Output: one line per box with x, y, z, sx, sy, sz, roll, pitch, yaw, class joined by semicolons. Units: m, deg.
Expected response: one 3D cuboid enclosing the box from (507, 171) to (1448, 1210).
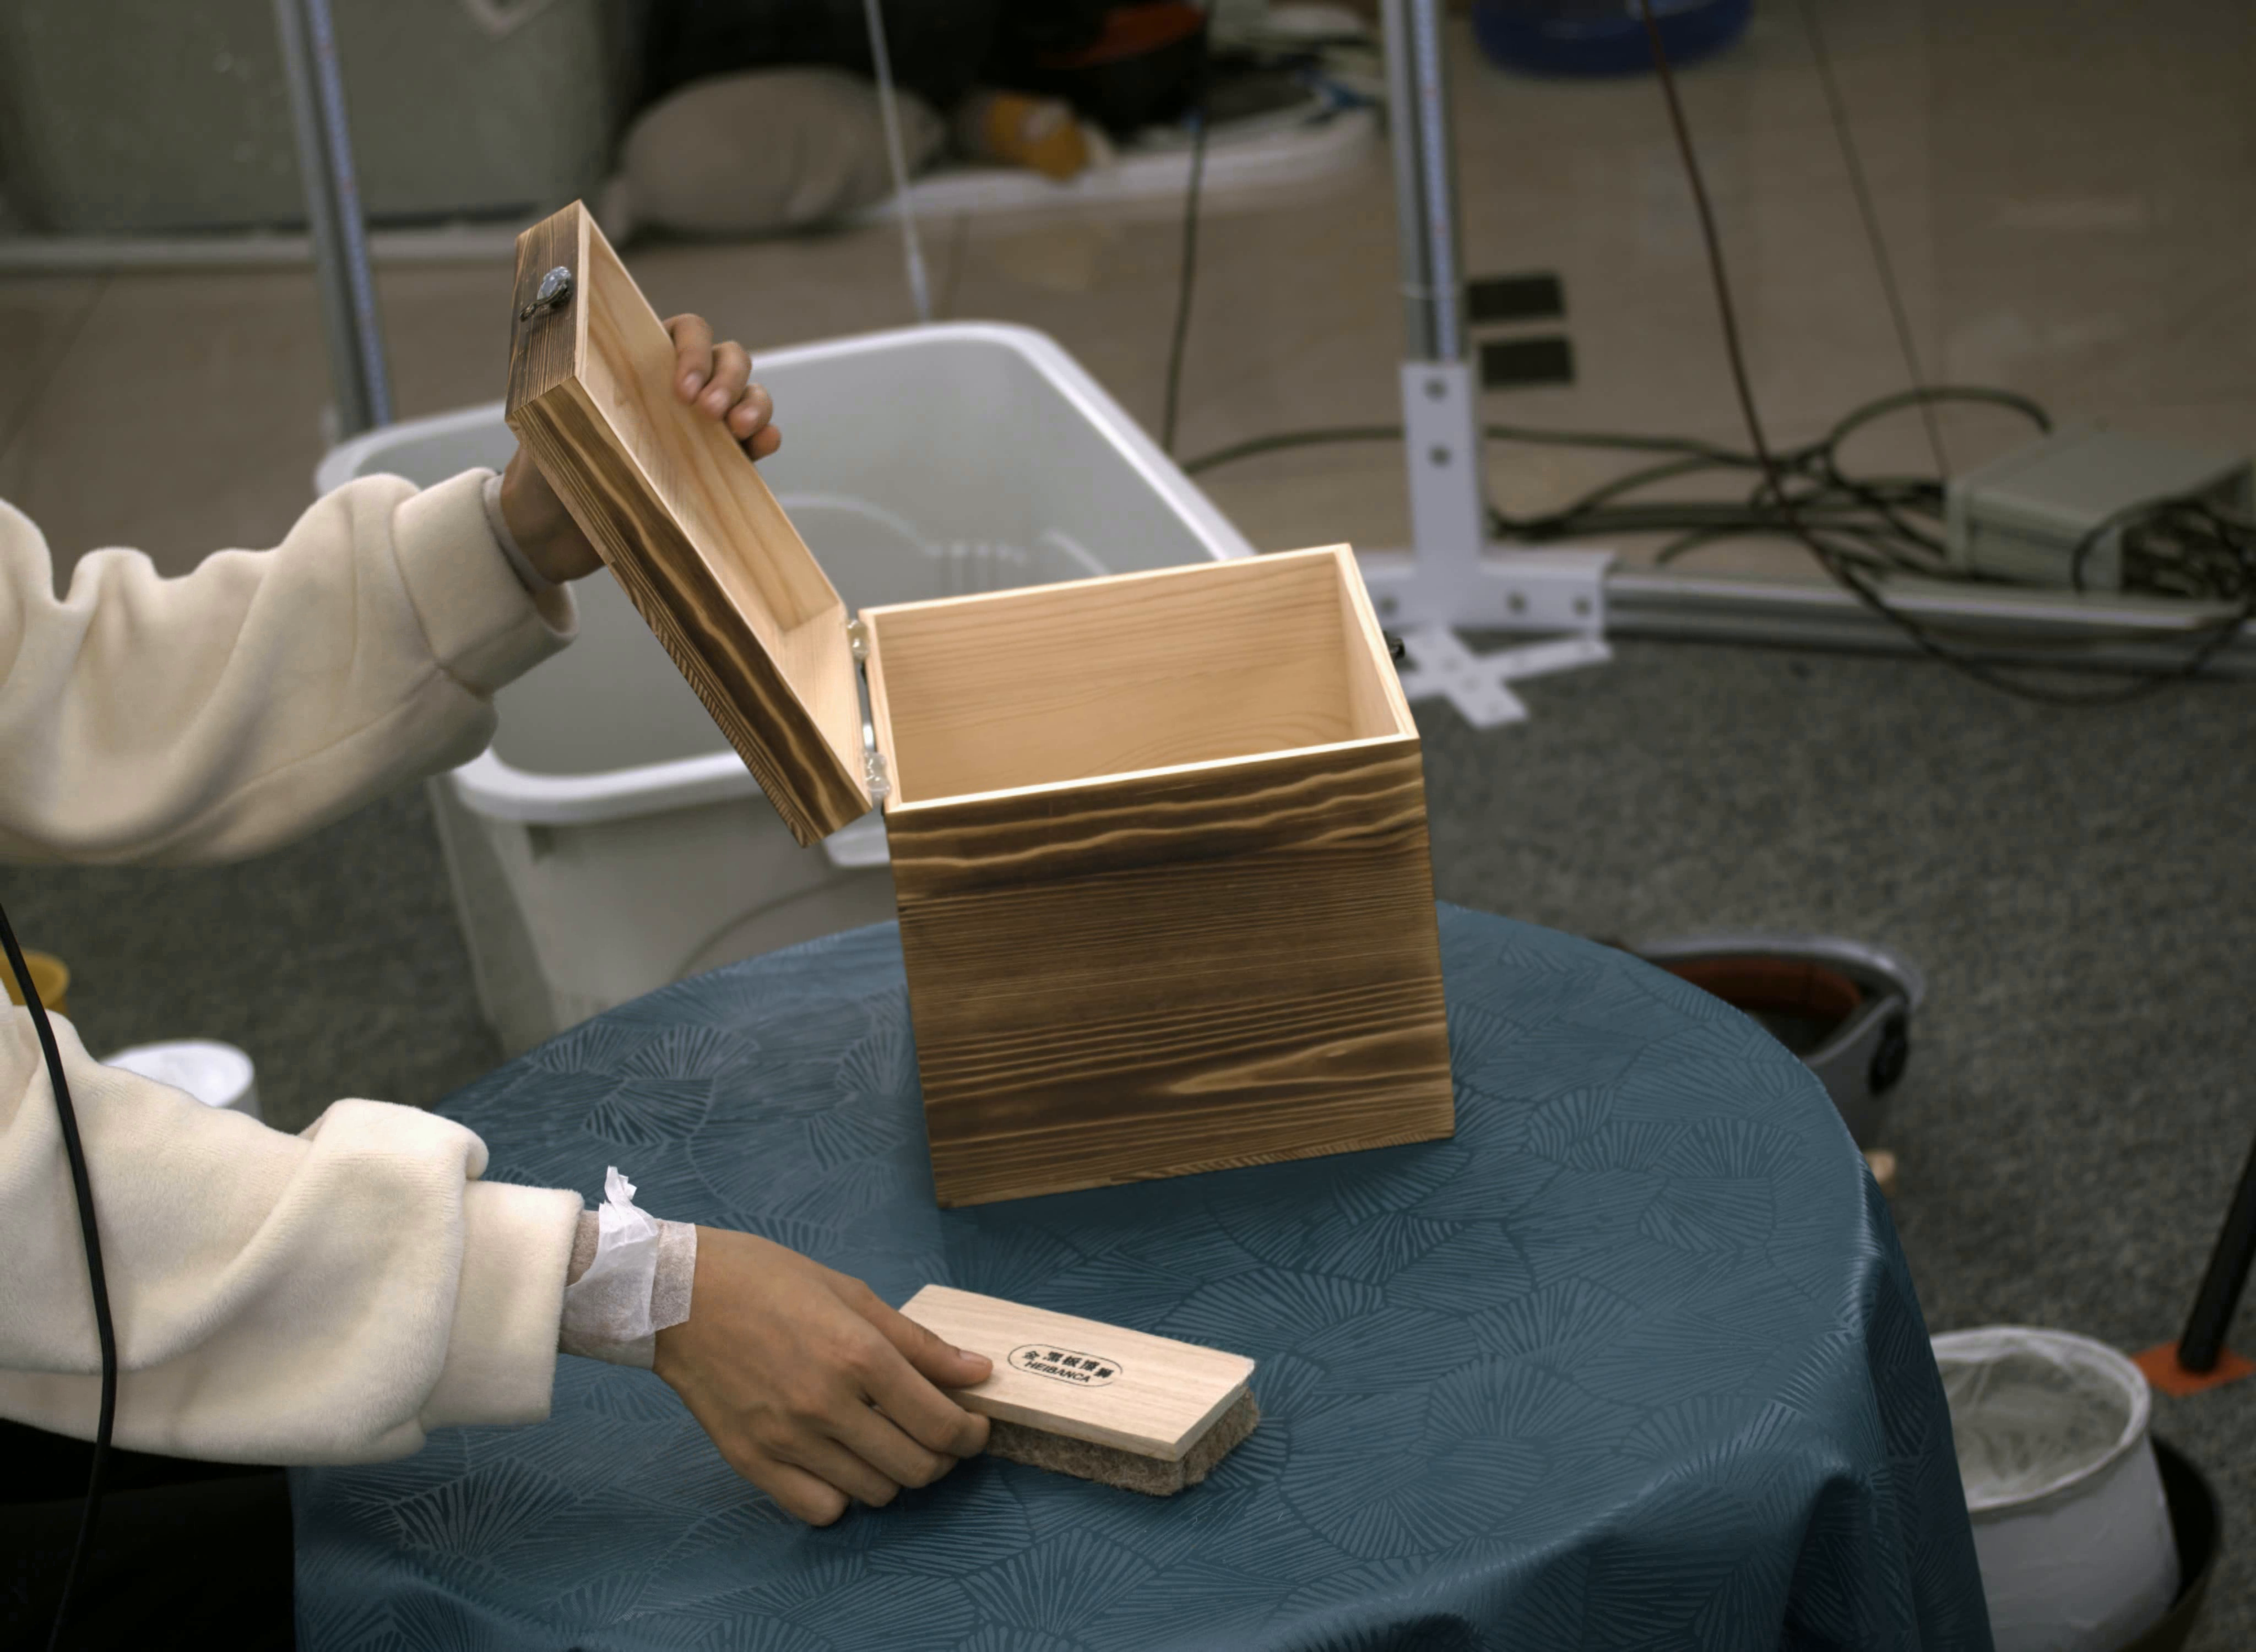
-0.051;-0.063;2.158;0.321;0.381;0.205;-8;27;-3;box

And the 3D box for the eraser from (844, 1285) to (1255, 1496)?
-0.027;0.199;1.992;0.138;0.029;0.056;10;32;33;eraser
